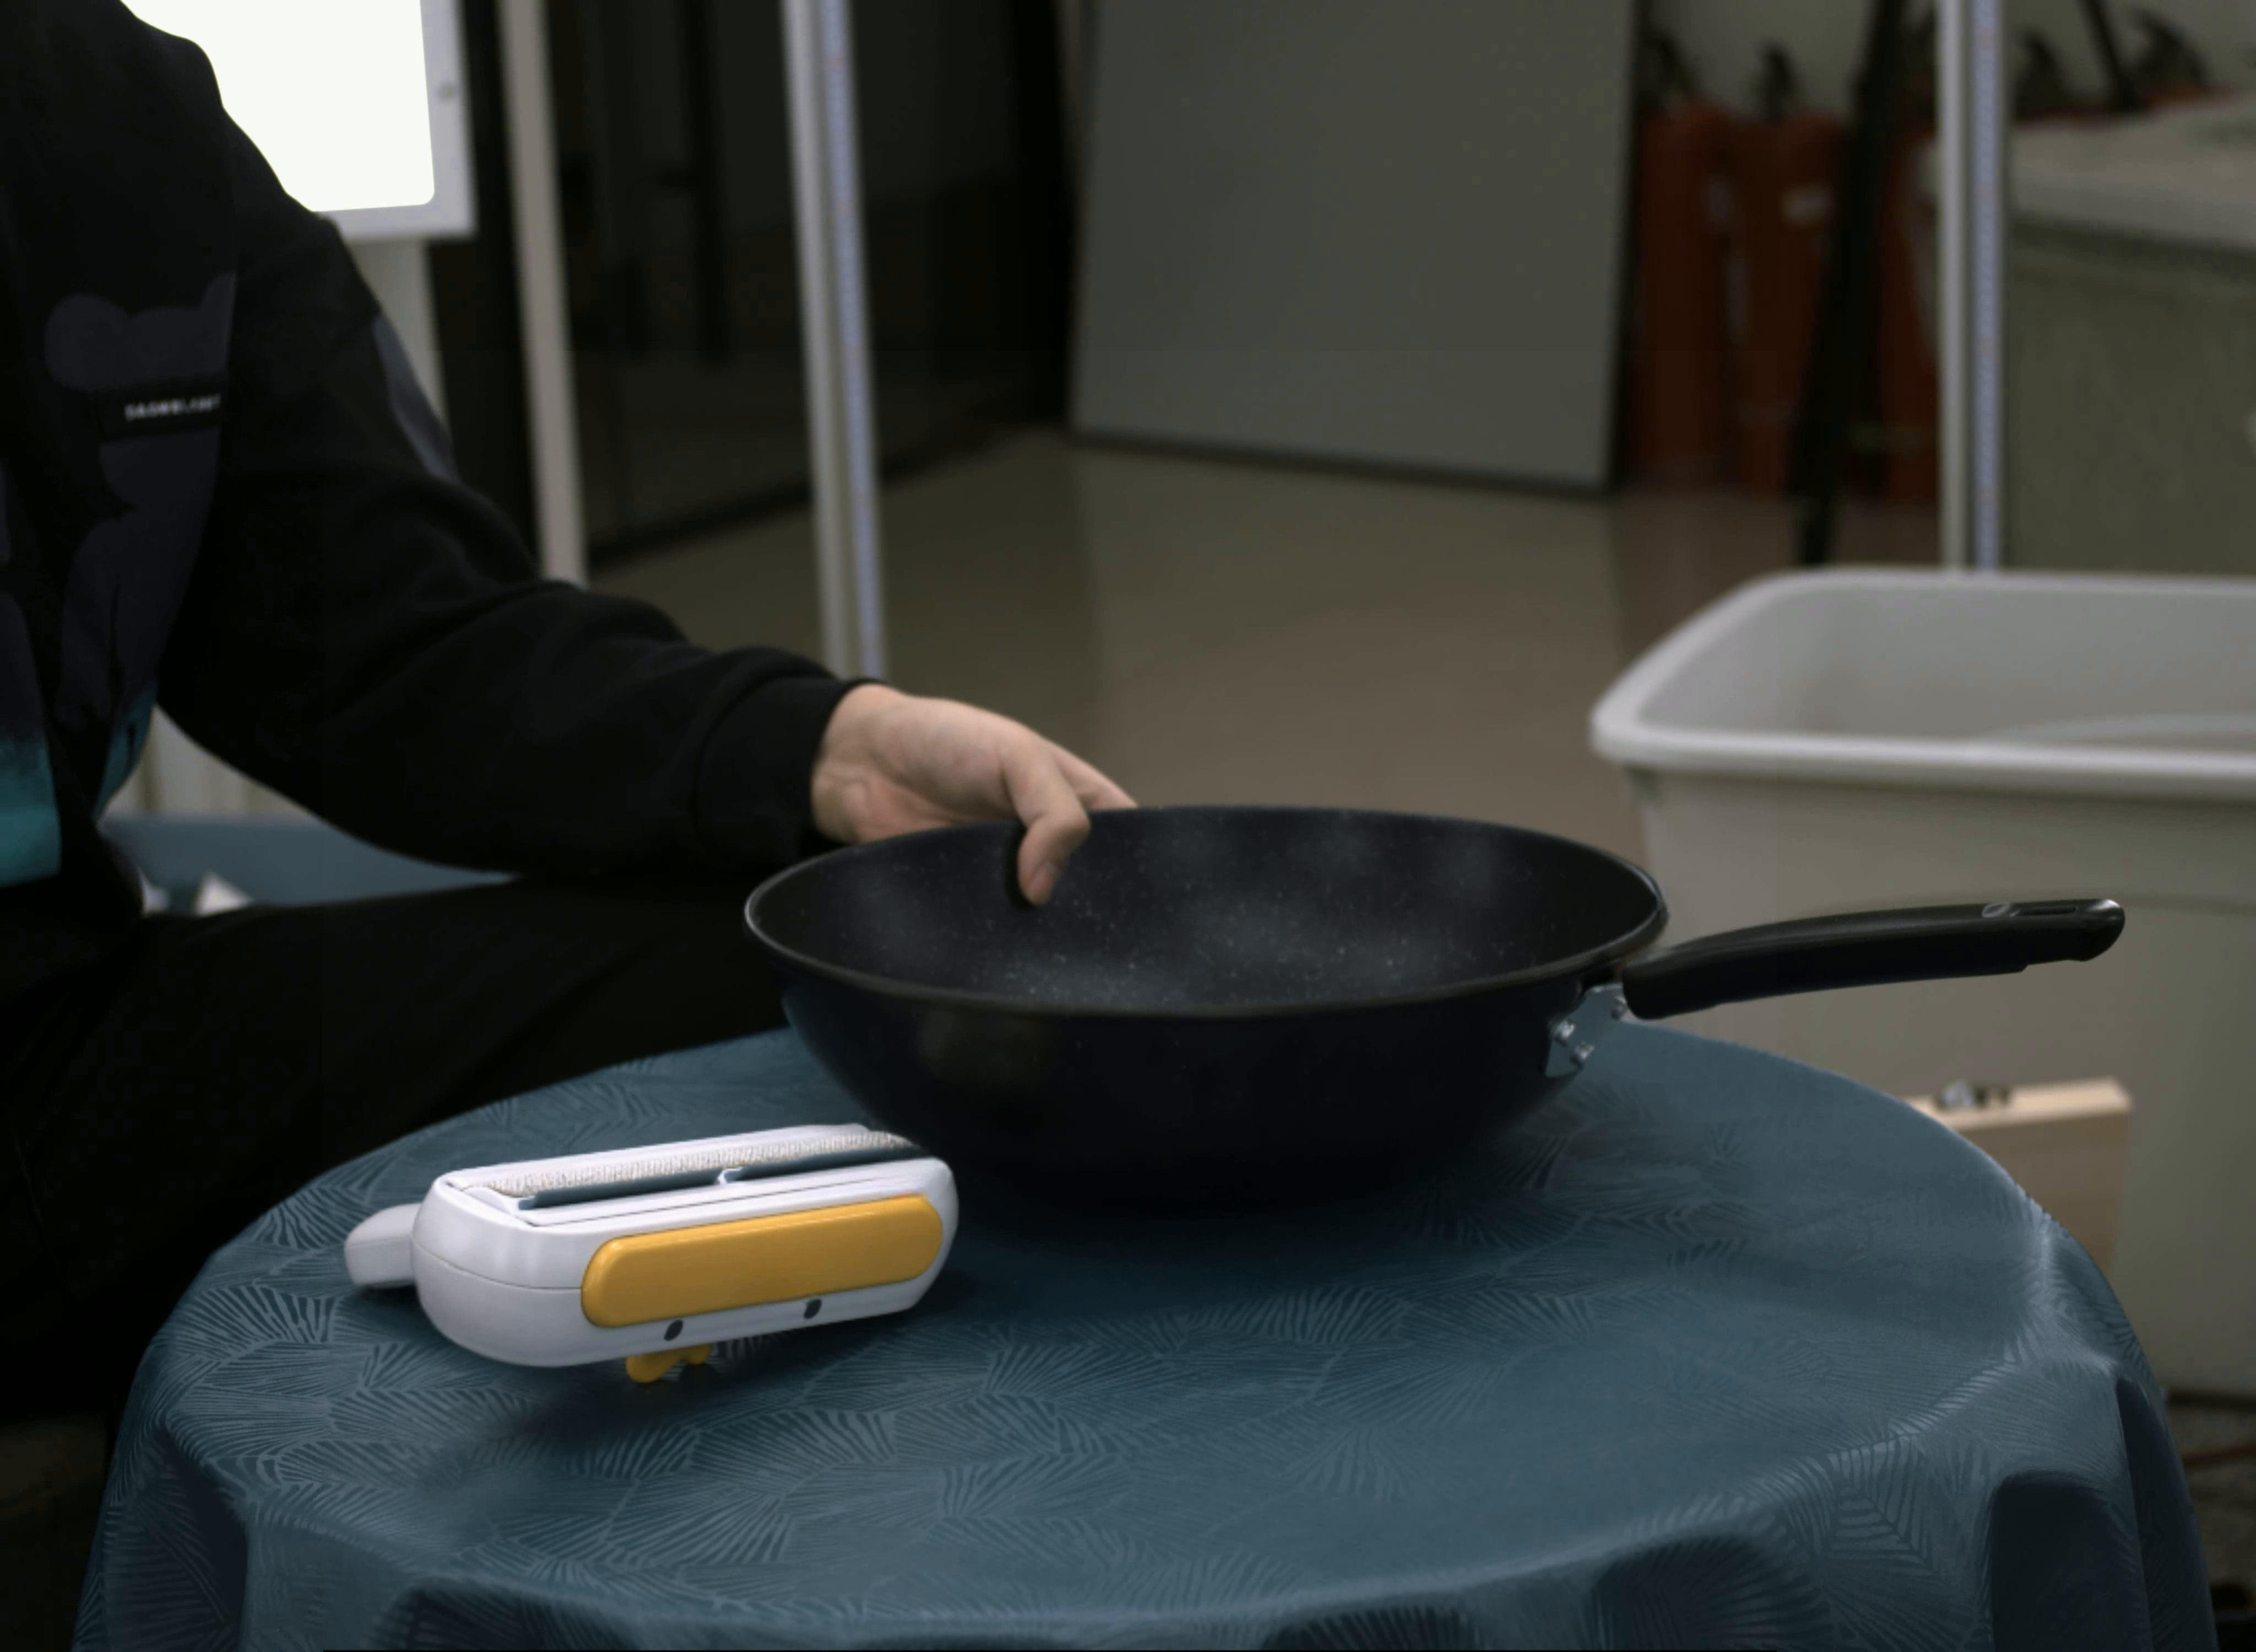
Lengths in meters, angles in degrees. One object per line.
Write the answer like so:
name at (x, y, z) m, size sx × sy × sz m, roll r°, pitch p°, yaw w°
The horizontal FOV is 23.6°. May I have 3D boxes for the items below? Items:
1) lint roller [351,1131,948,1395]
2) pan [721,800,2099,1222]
lint roller at (-0.175, 0.127, 1.660) m, size 0.188 × 0.075 × 0.194 m, roll -9°, pitch 12°, yaw -41°
pan at (0.090, 0.061, 1.749) m, size 0.479 × 0.113 × 0.305 m, roll 4°, pitch 15°, yaw 32°
